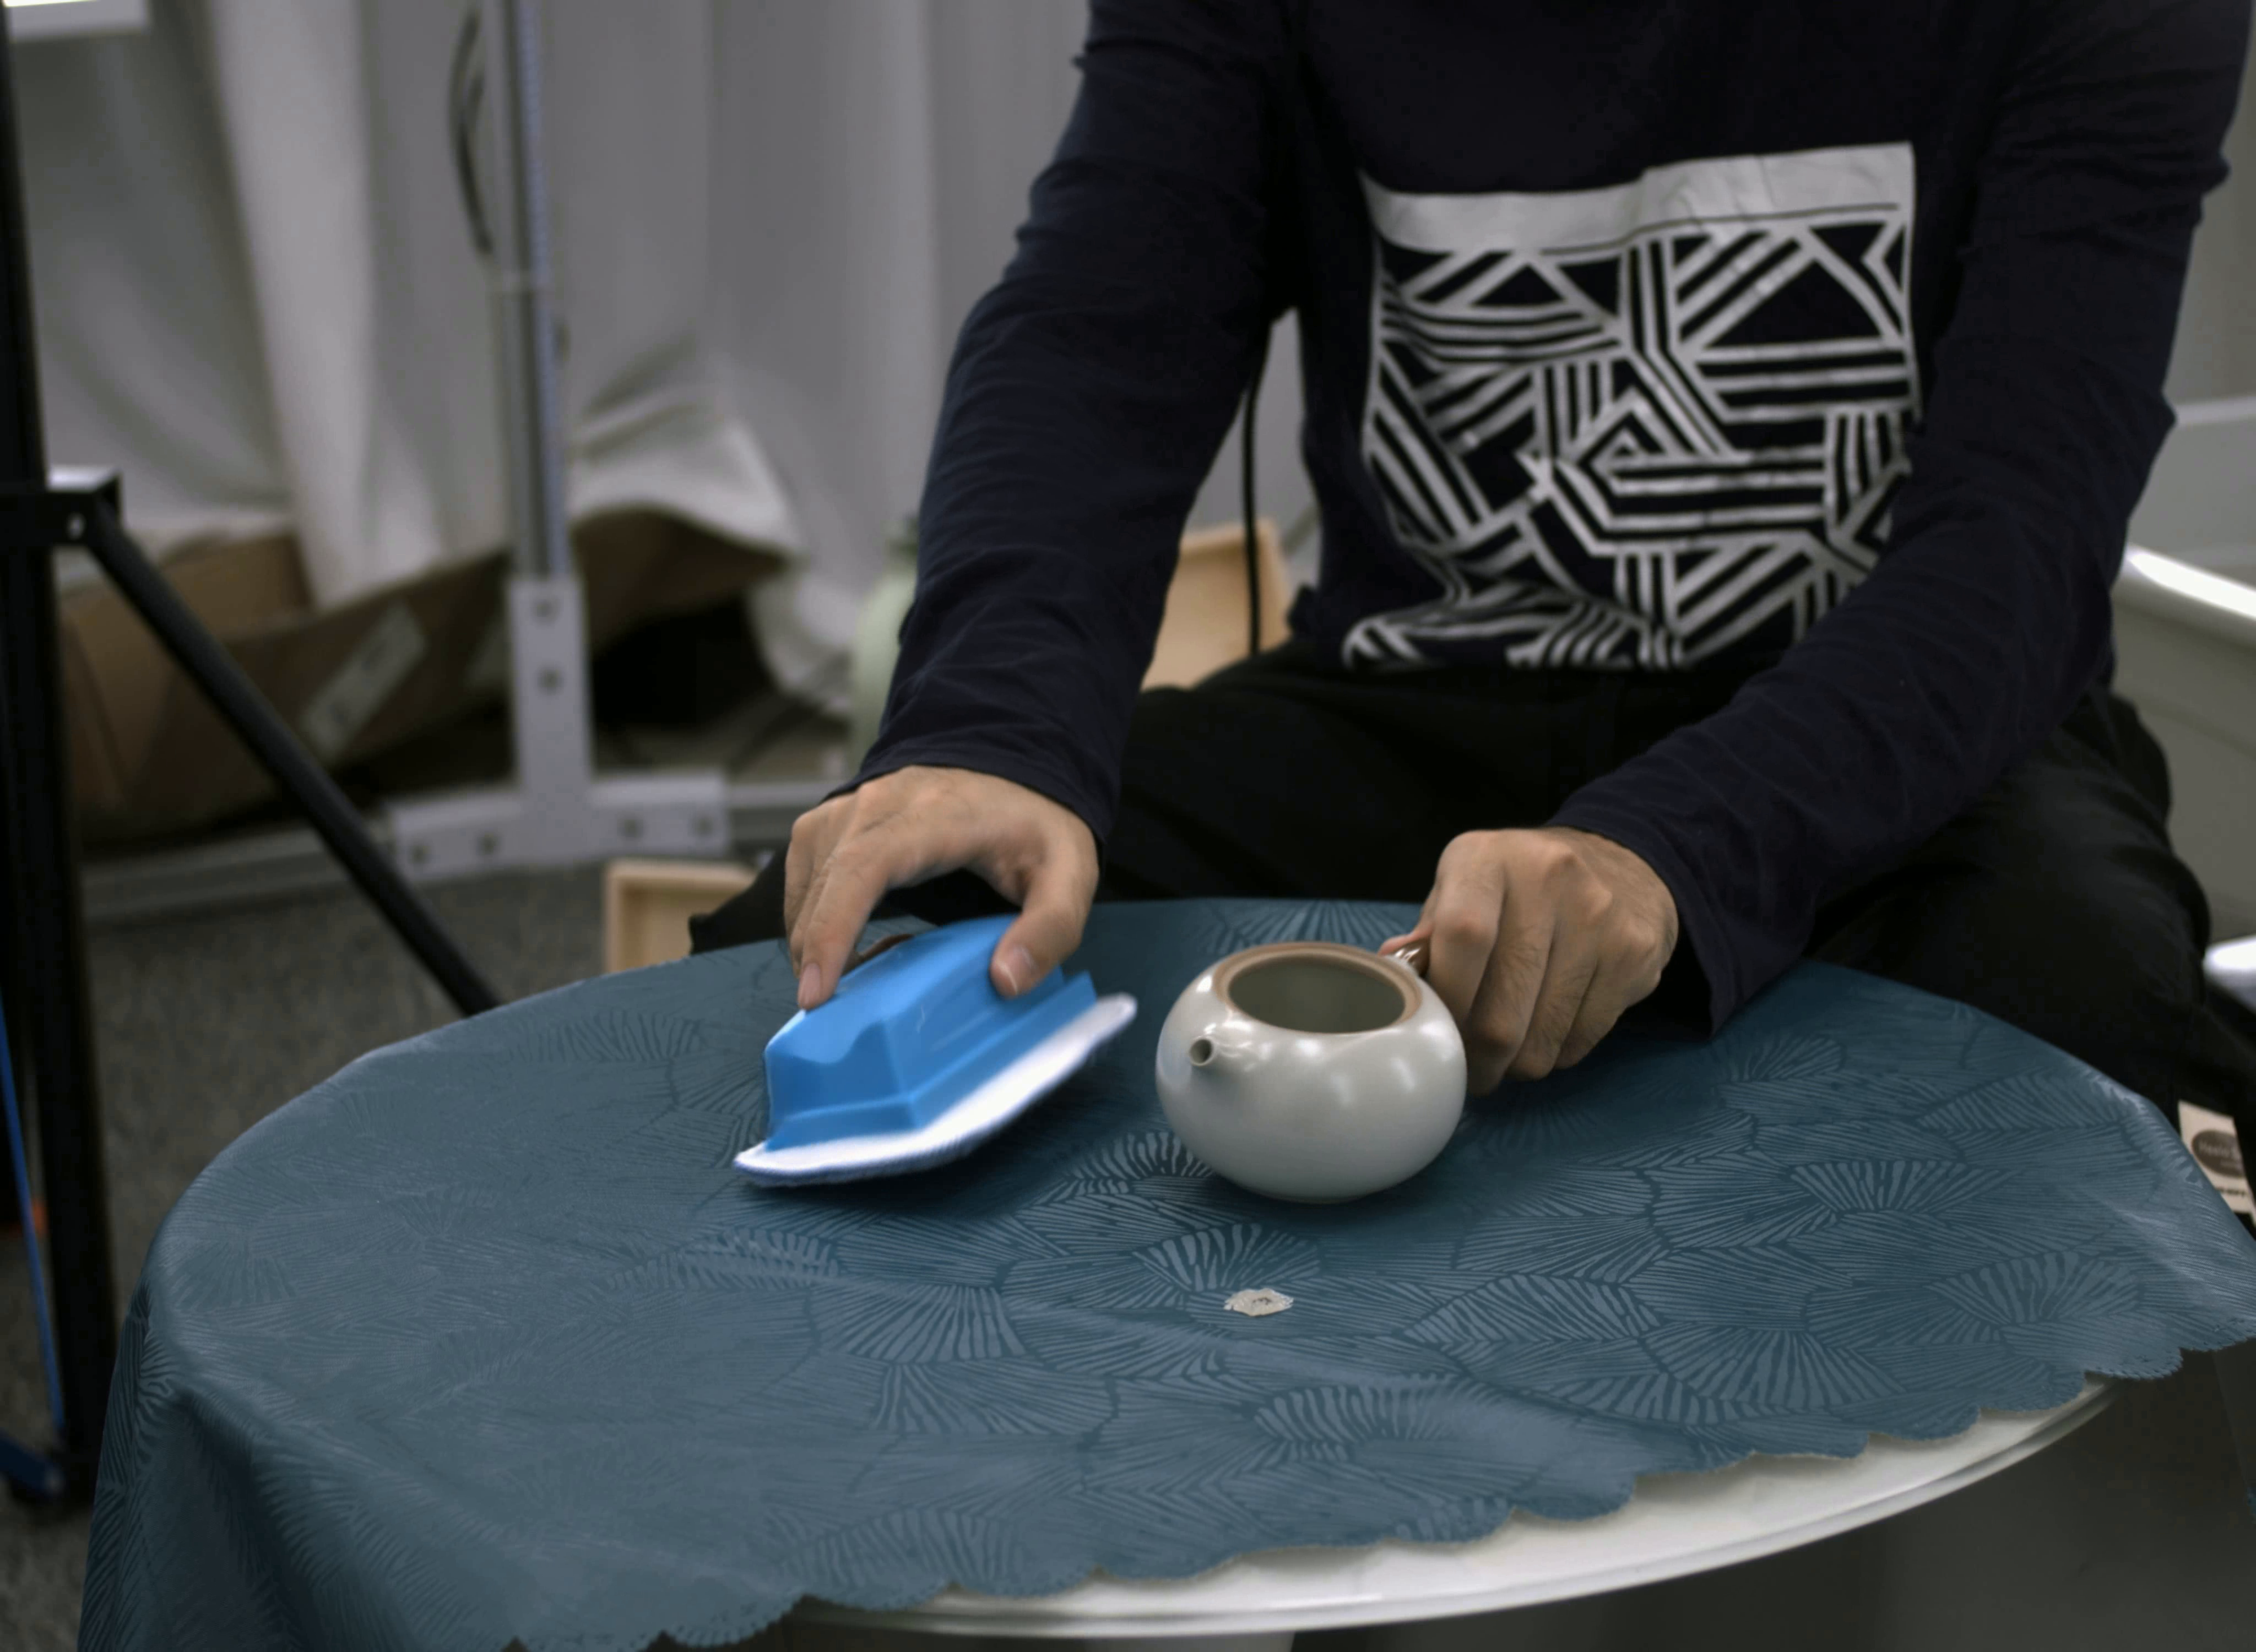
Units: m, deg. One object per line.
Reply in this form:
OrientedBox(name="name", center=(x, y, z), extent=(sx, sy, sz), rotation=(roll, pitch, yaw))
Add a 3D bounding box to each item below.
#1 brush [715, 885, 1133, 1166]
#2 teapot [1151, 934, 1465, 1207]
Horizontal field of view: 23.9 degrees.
OrientedBox(name="brush", center=(-0.062, 0.057, 1.616), extent=(0.085, 0.056, 0.142), rotation=(-2, 19, 31))
OrientedBox(name="teapot", center=(0.059, 0.071, 1.561), extent=(0.094, 0.059, 0.125), rotation=(16, 28, 38))
